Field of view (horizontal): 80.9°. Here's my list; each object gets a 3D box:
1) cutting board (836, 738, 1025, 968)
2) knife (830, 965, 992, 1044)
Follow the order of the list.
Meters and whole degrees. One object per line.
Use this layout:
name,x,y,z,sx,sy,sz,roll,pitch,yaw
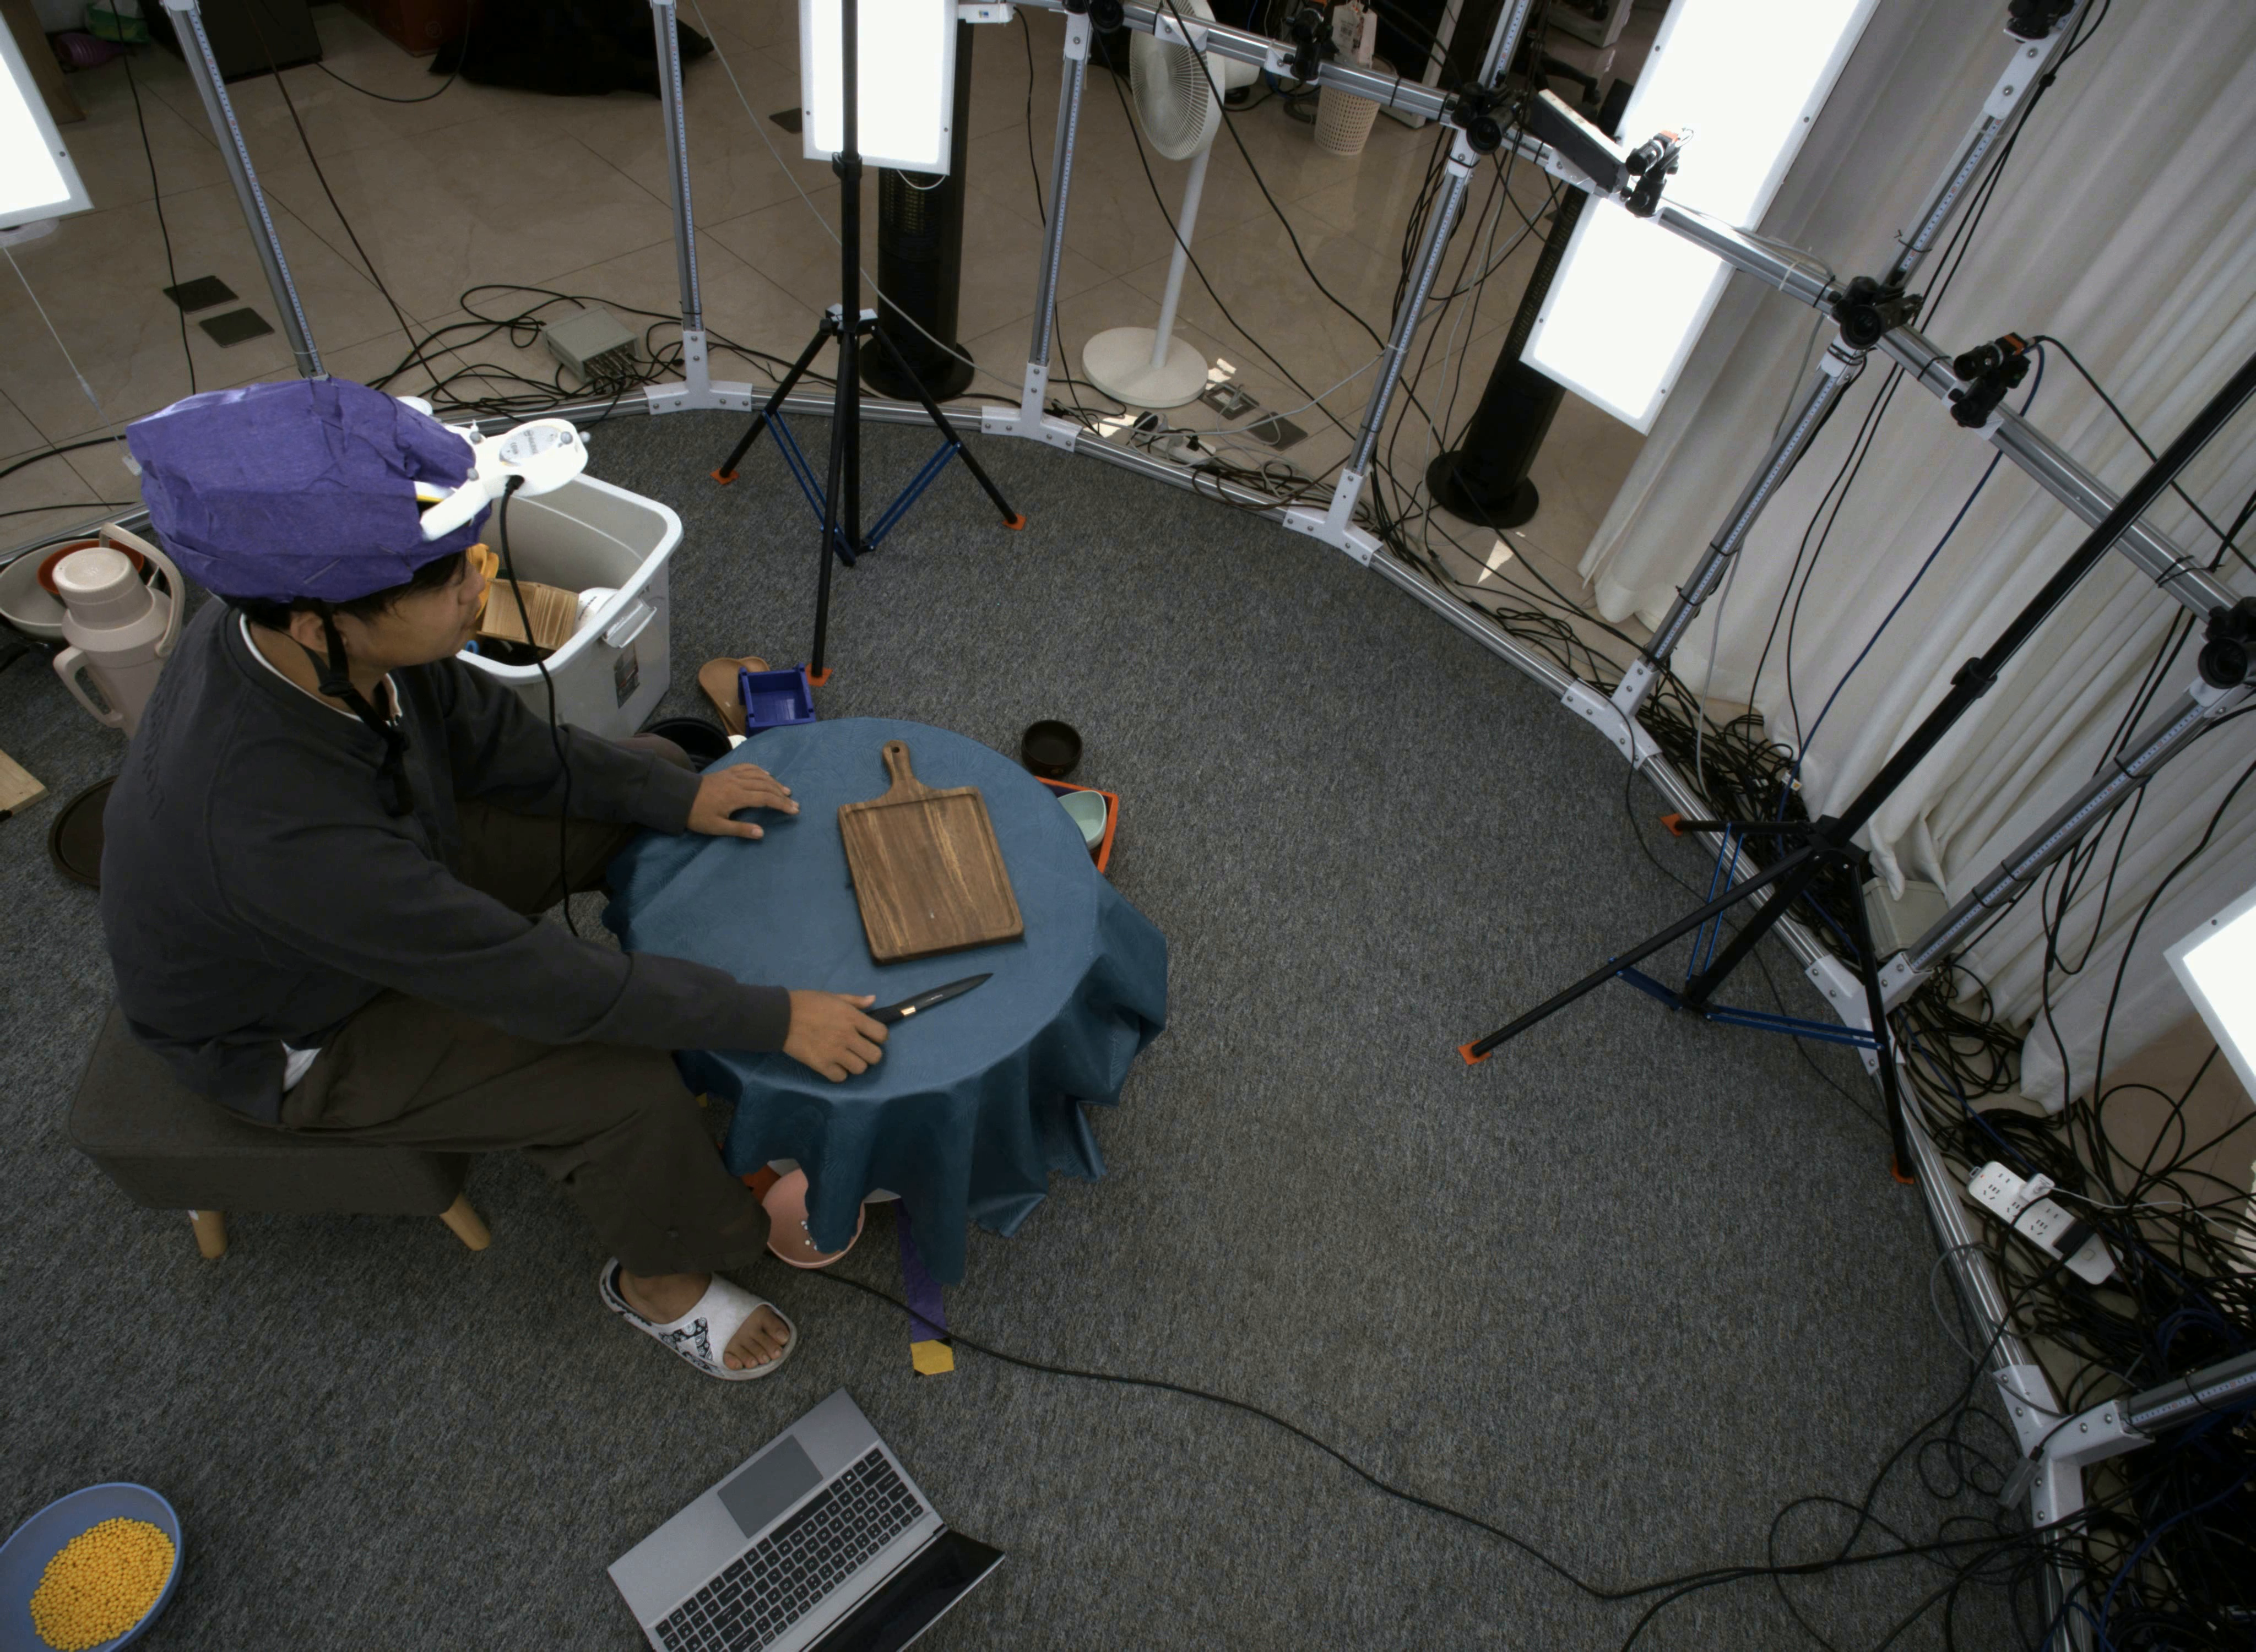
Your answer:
cutting board,-0.276,0.020,1.729,0.202,0.023,0.343,-9,57,-20
knife,-0.263,0.214,1.594,0.227,0.018,0.025,-21,54,-28
